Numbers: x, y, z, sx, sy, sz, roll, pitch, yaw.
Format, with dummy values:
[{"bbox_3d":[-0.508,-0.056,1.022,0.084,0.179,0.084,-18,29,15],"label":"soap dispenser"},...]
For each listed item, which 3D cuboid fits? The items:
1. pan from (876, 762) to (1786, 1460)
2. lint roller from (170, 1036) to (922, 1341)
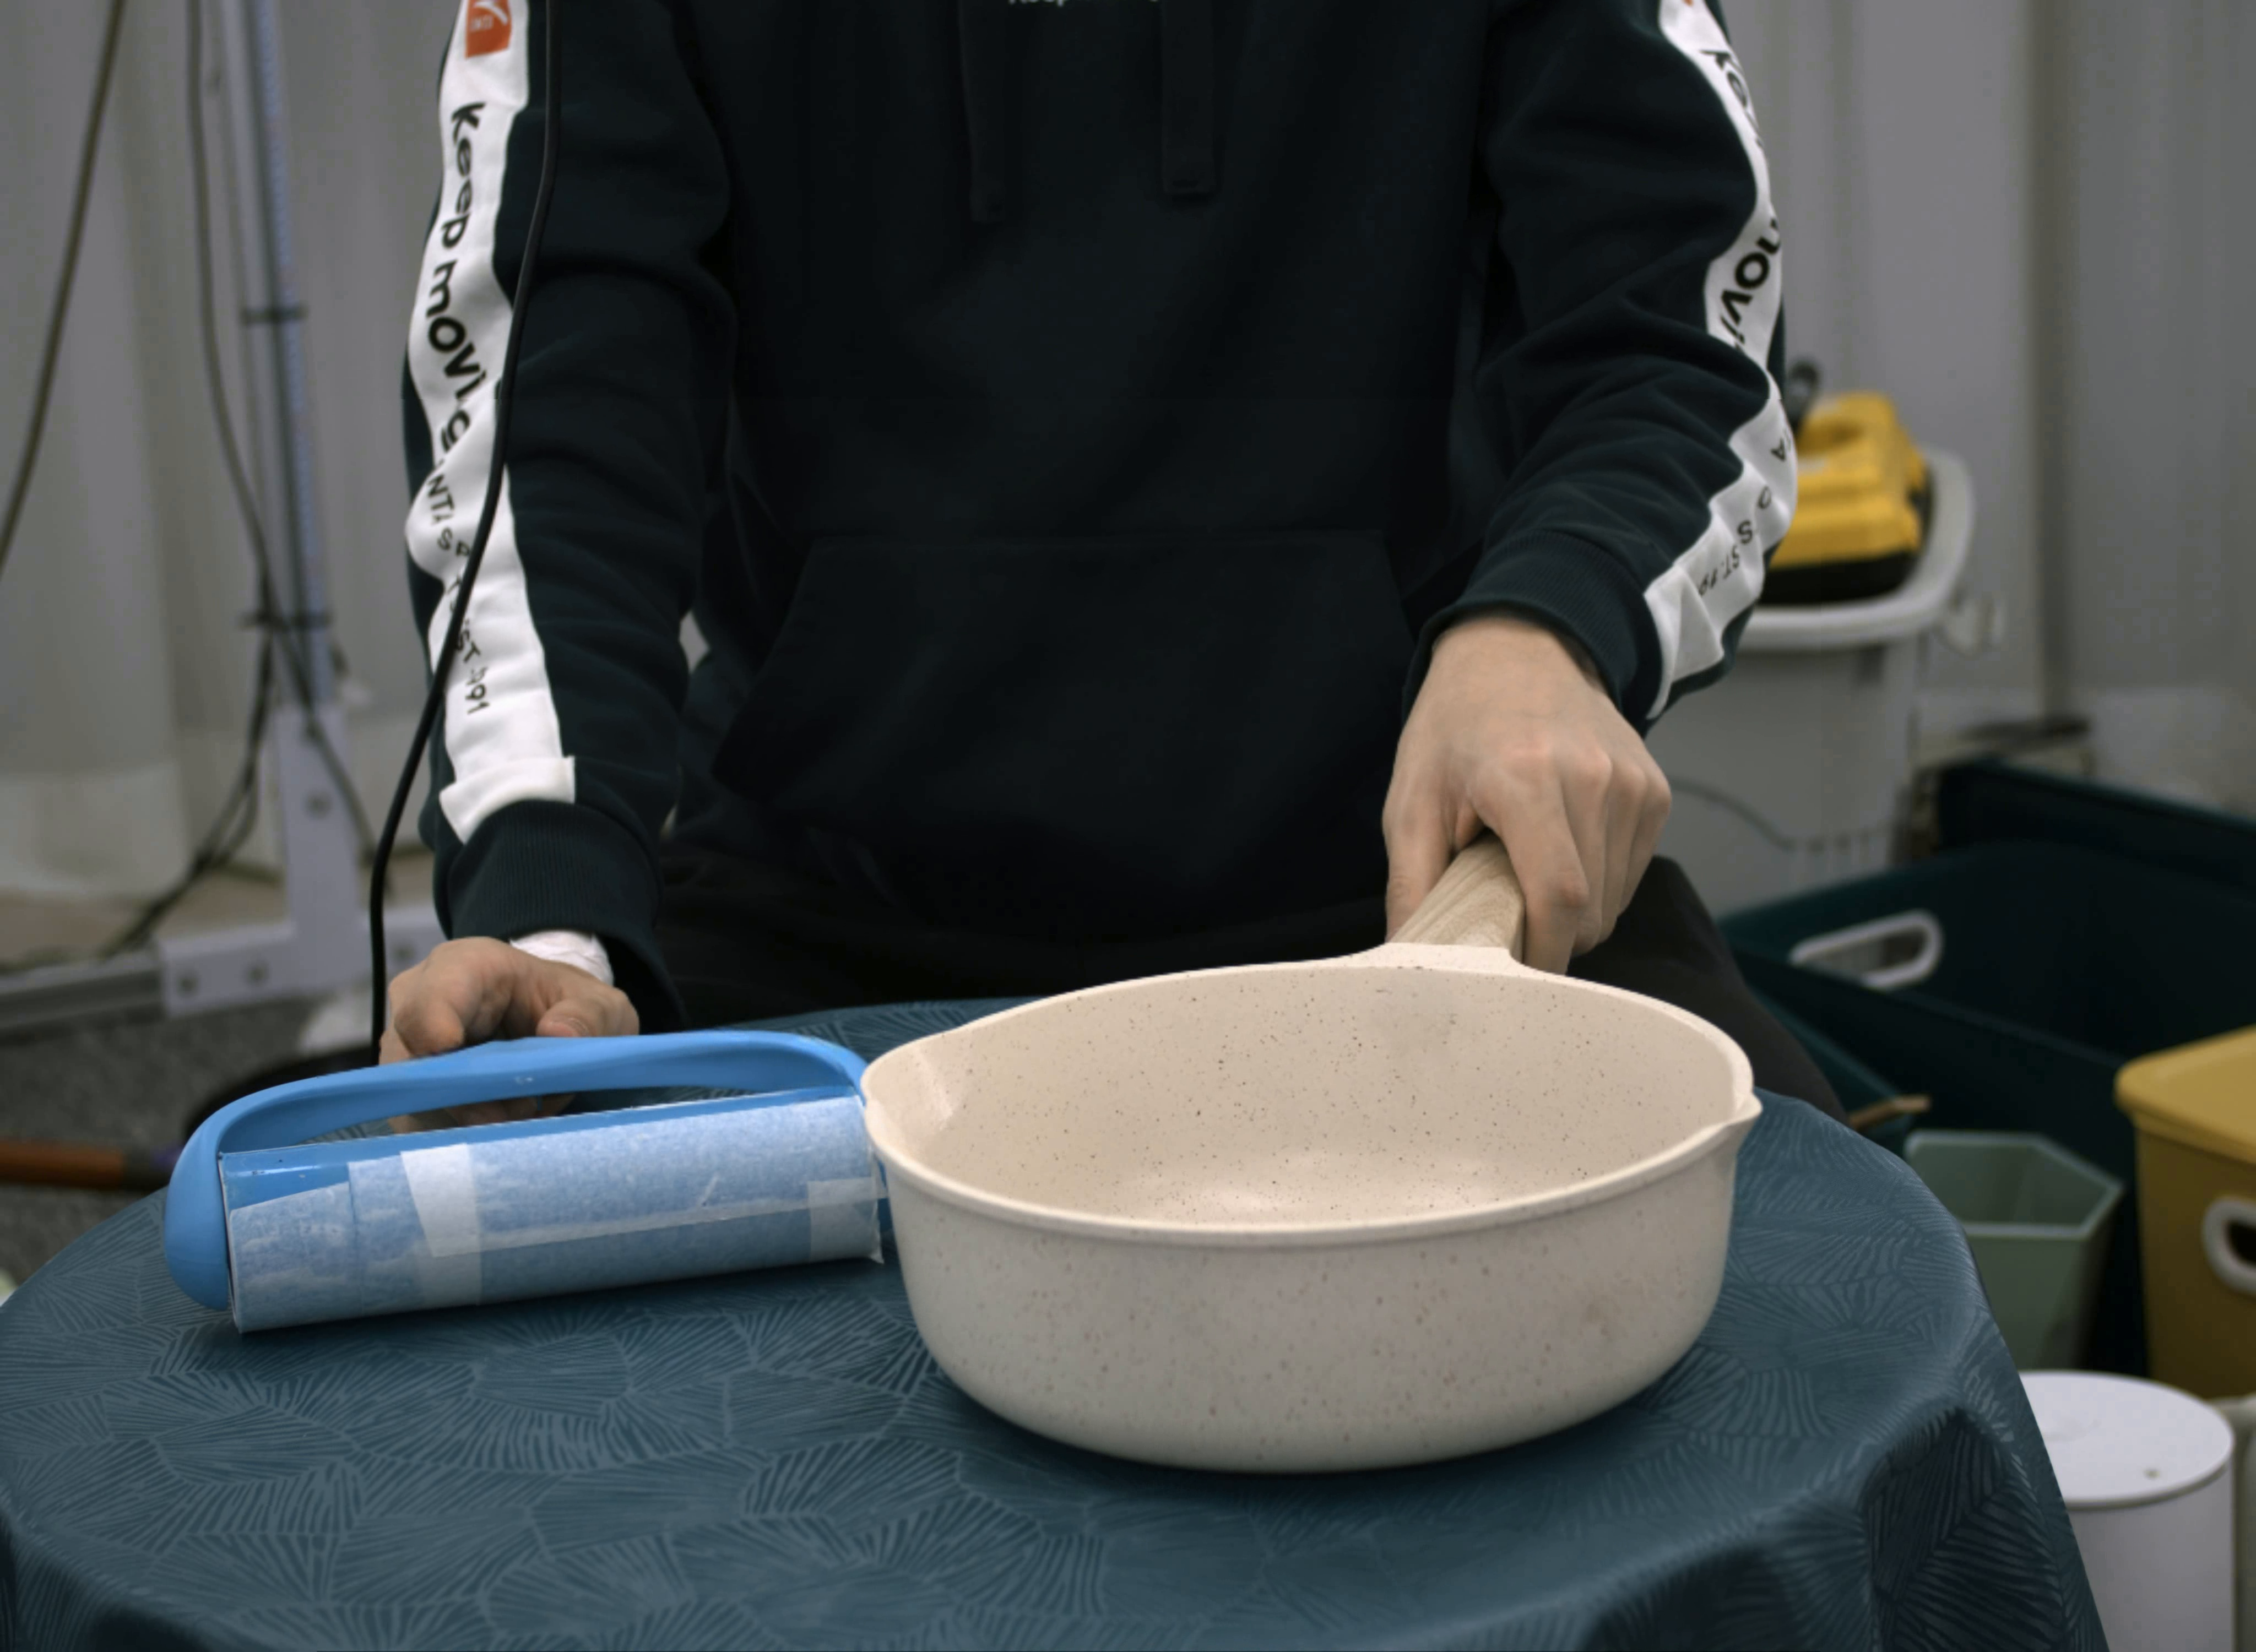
[{"bbox_3d":[0.086,0.080,1.632,0.263,0.101,0.436,1,14,18],"label":"pan"},{"bbox_3d":[-0.189,0.099,1.700,0.228,0.067,0.182,-8,17,-14],"label":"lint roller"}]
